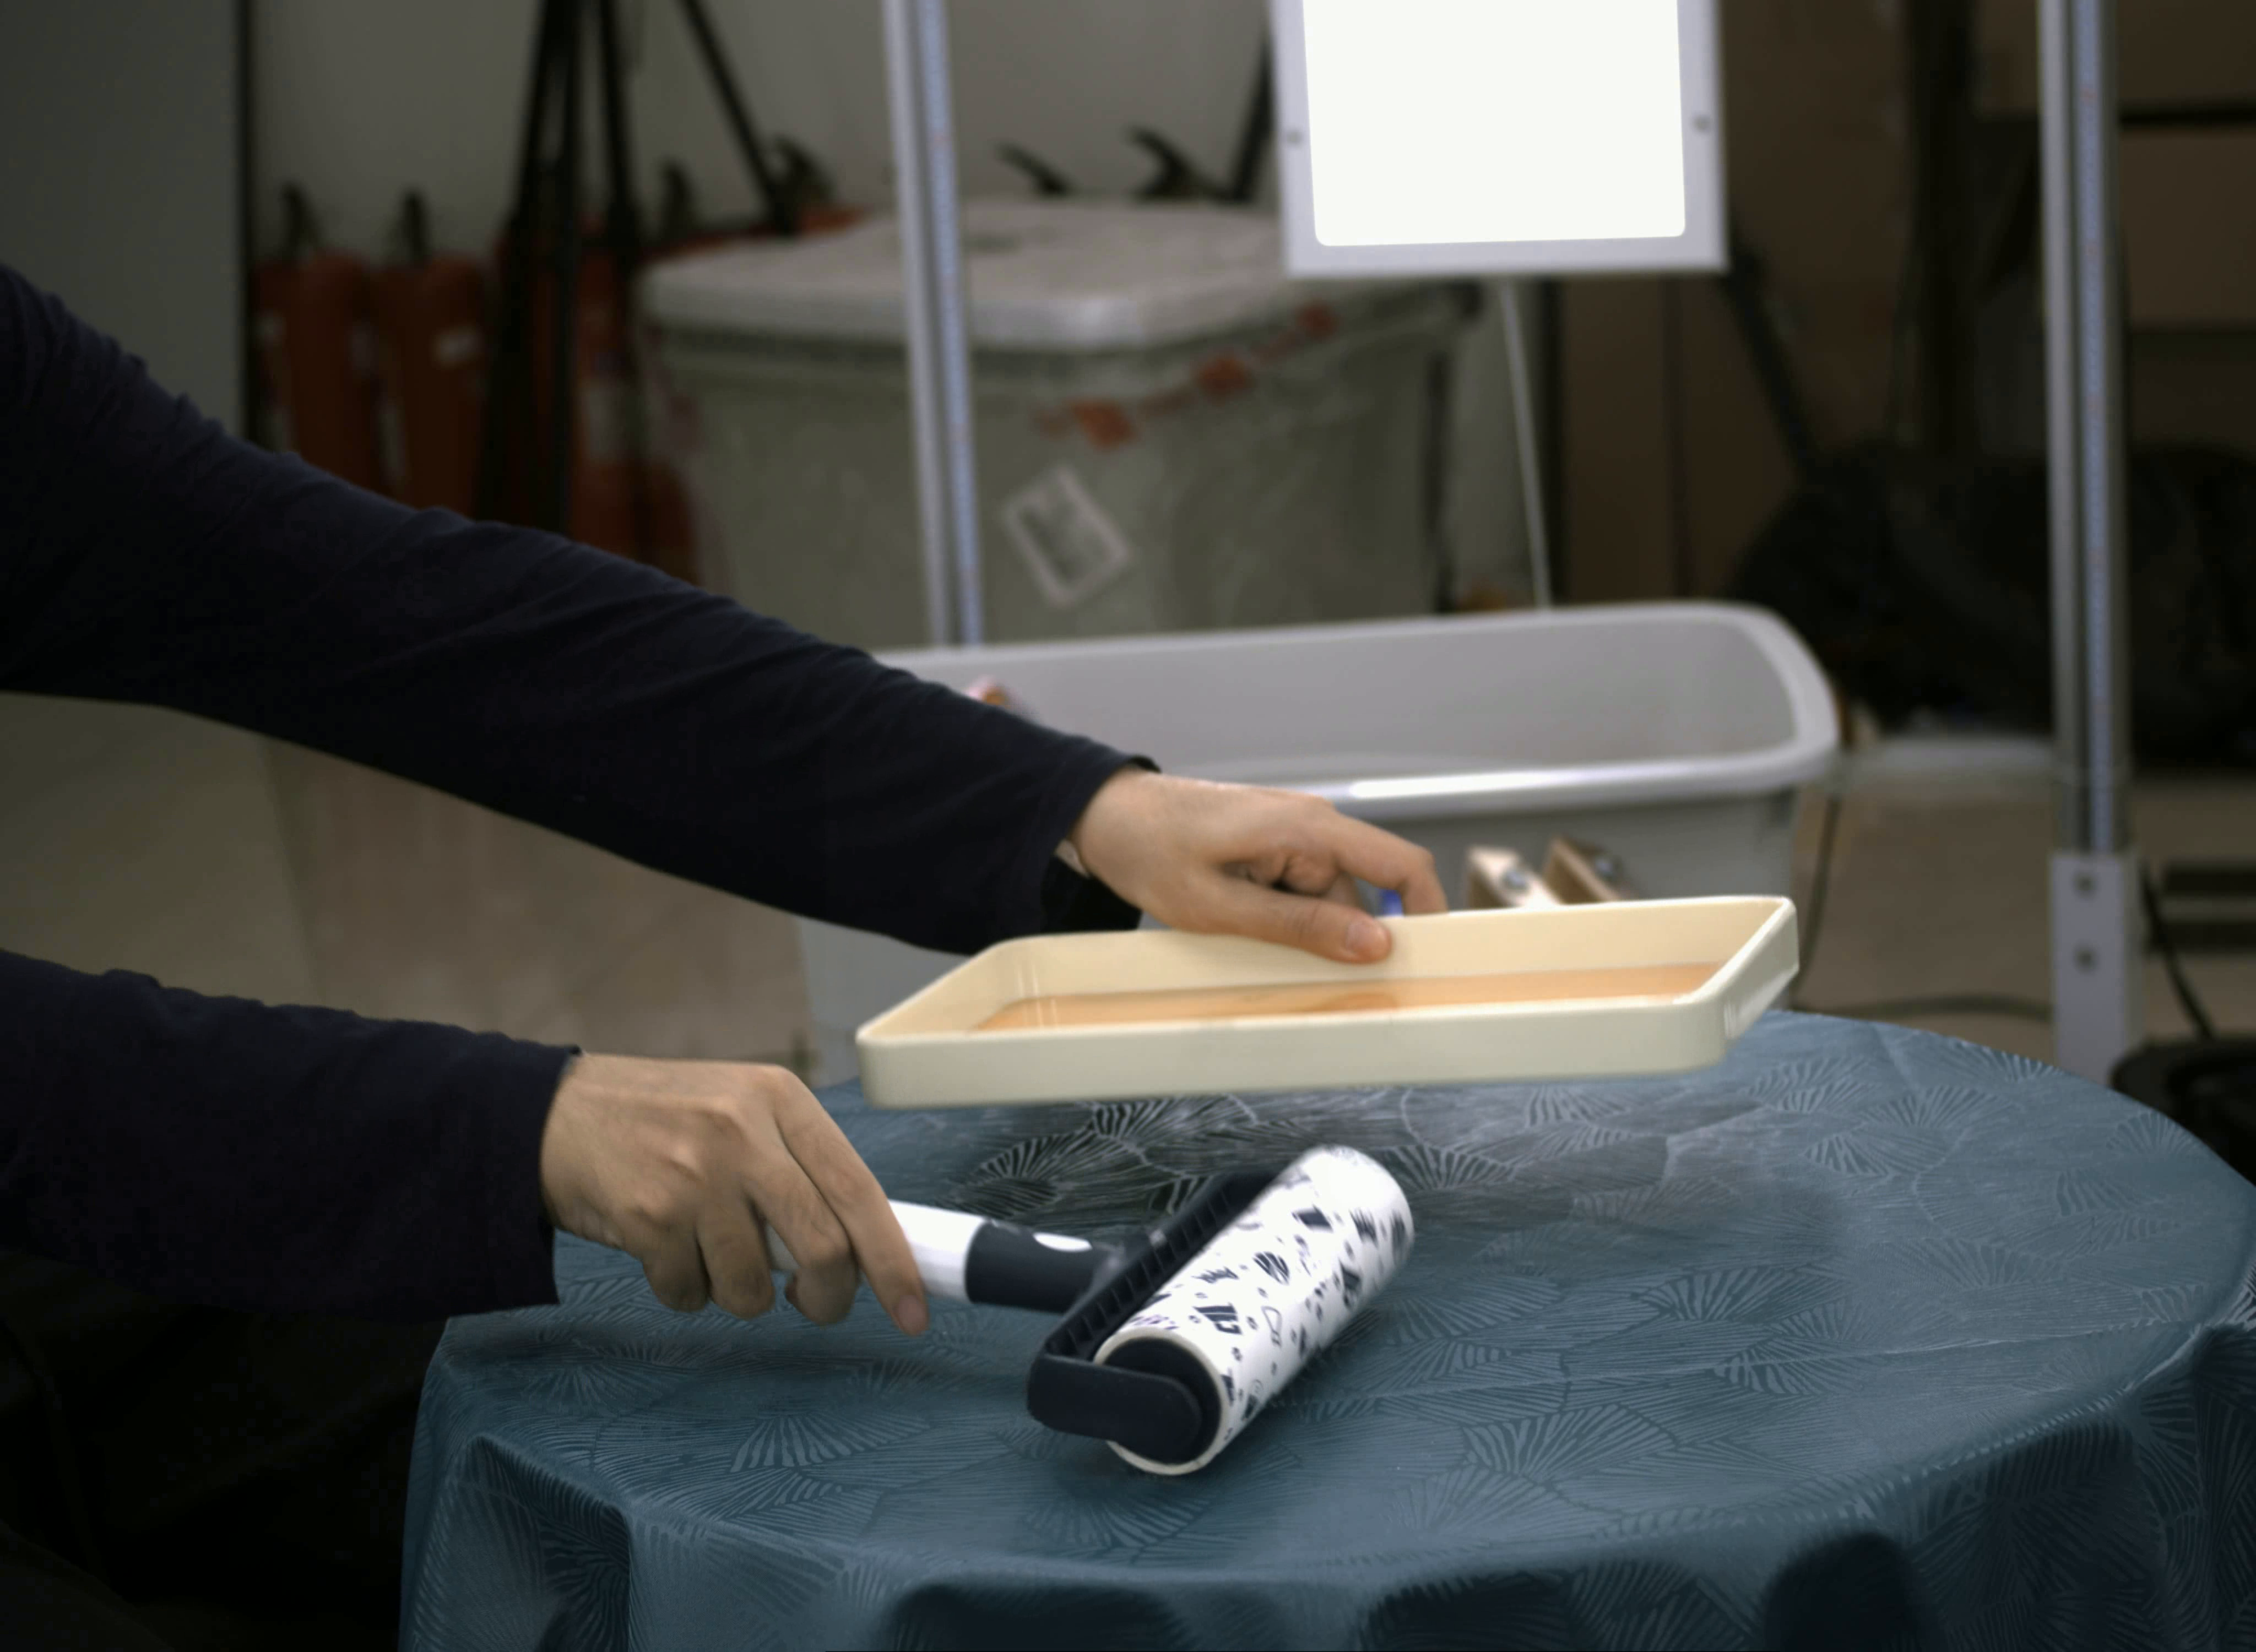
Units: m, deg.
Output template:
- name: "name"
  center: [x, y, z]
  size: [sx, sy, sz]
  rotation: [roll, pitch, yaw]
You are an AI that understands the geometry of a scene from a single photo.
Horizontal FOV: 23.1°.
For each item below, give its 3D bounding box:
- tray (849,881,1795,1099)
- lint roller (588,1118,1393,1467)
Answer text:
- name: "tray"
  center: [0.071, 0.057, 1.901]
  size: [0.304, 0.027, 0.188]
  rotation: [-3, 10, 19]
- name: "lint roller"
  center: [-0.058, 0.130, 1.729]
  size: [0.250, 0.050, 0.173]
  rotation: [7, 23, 22]
